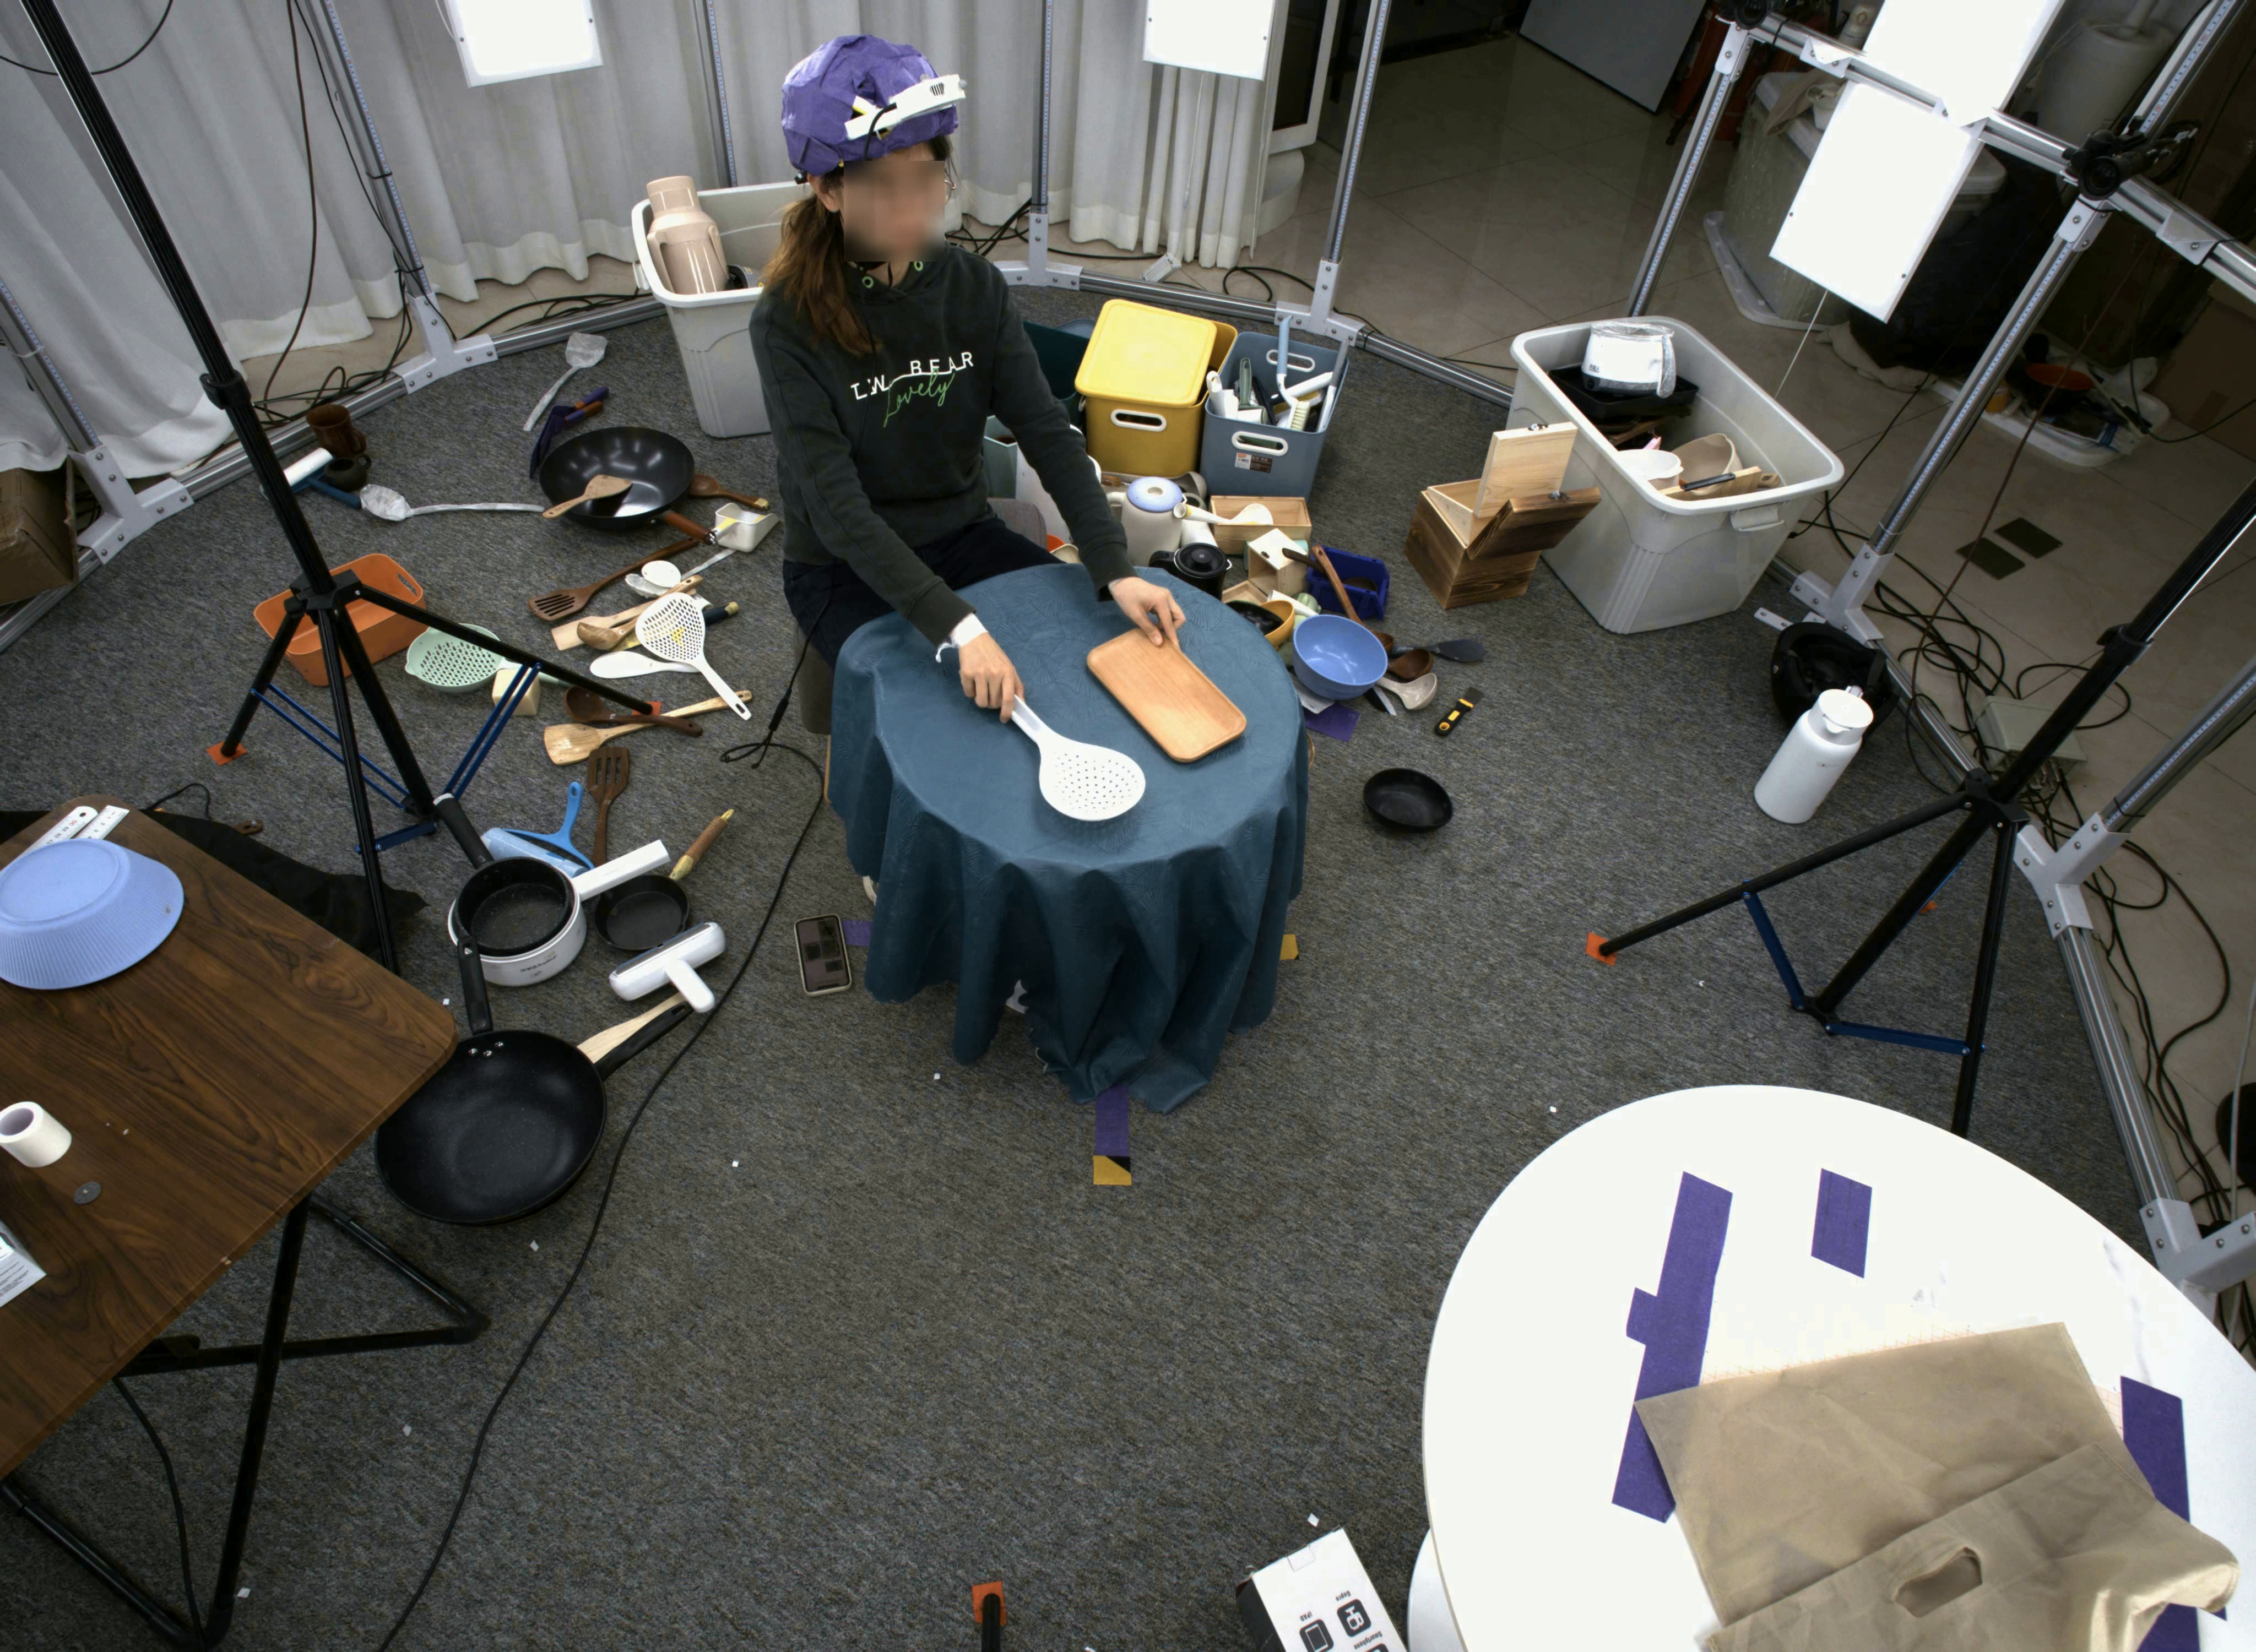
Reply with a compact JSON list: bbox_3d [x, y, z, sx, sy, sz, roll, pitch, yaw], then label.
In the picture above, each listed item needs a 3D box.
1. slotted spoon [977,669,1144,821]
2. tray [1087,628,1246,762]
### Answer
[{"bbox_3d":[-0.109,-0.115,1.747,0.136,0.044,0.356,-24,54,-26],"label":"slotted spoon"},{"bbox_3d":[0.053,-0.190,1.837,0.131,0.022,0.256,-27,54,-21],"label":"tray"}]
